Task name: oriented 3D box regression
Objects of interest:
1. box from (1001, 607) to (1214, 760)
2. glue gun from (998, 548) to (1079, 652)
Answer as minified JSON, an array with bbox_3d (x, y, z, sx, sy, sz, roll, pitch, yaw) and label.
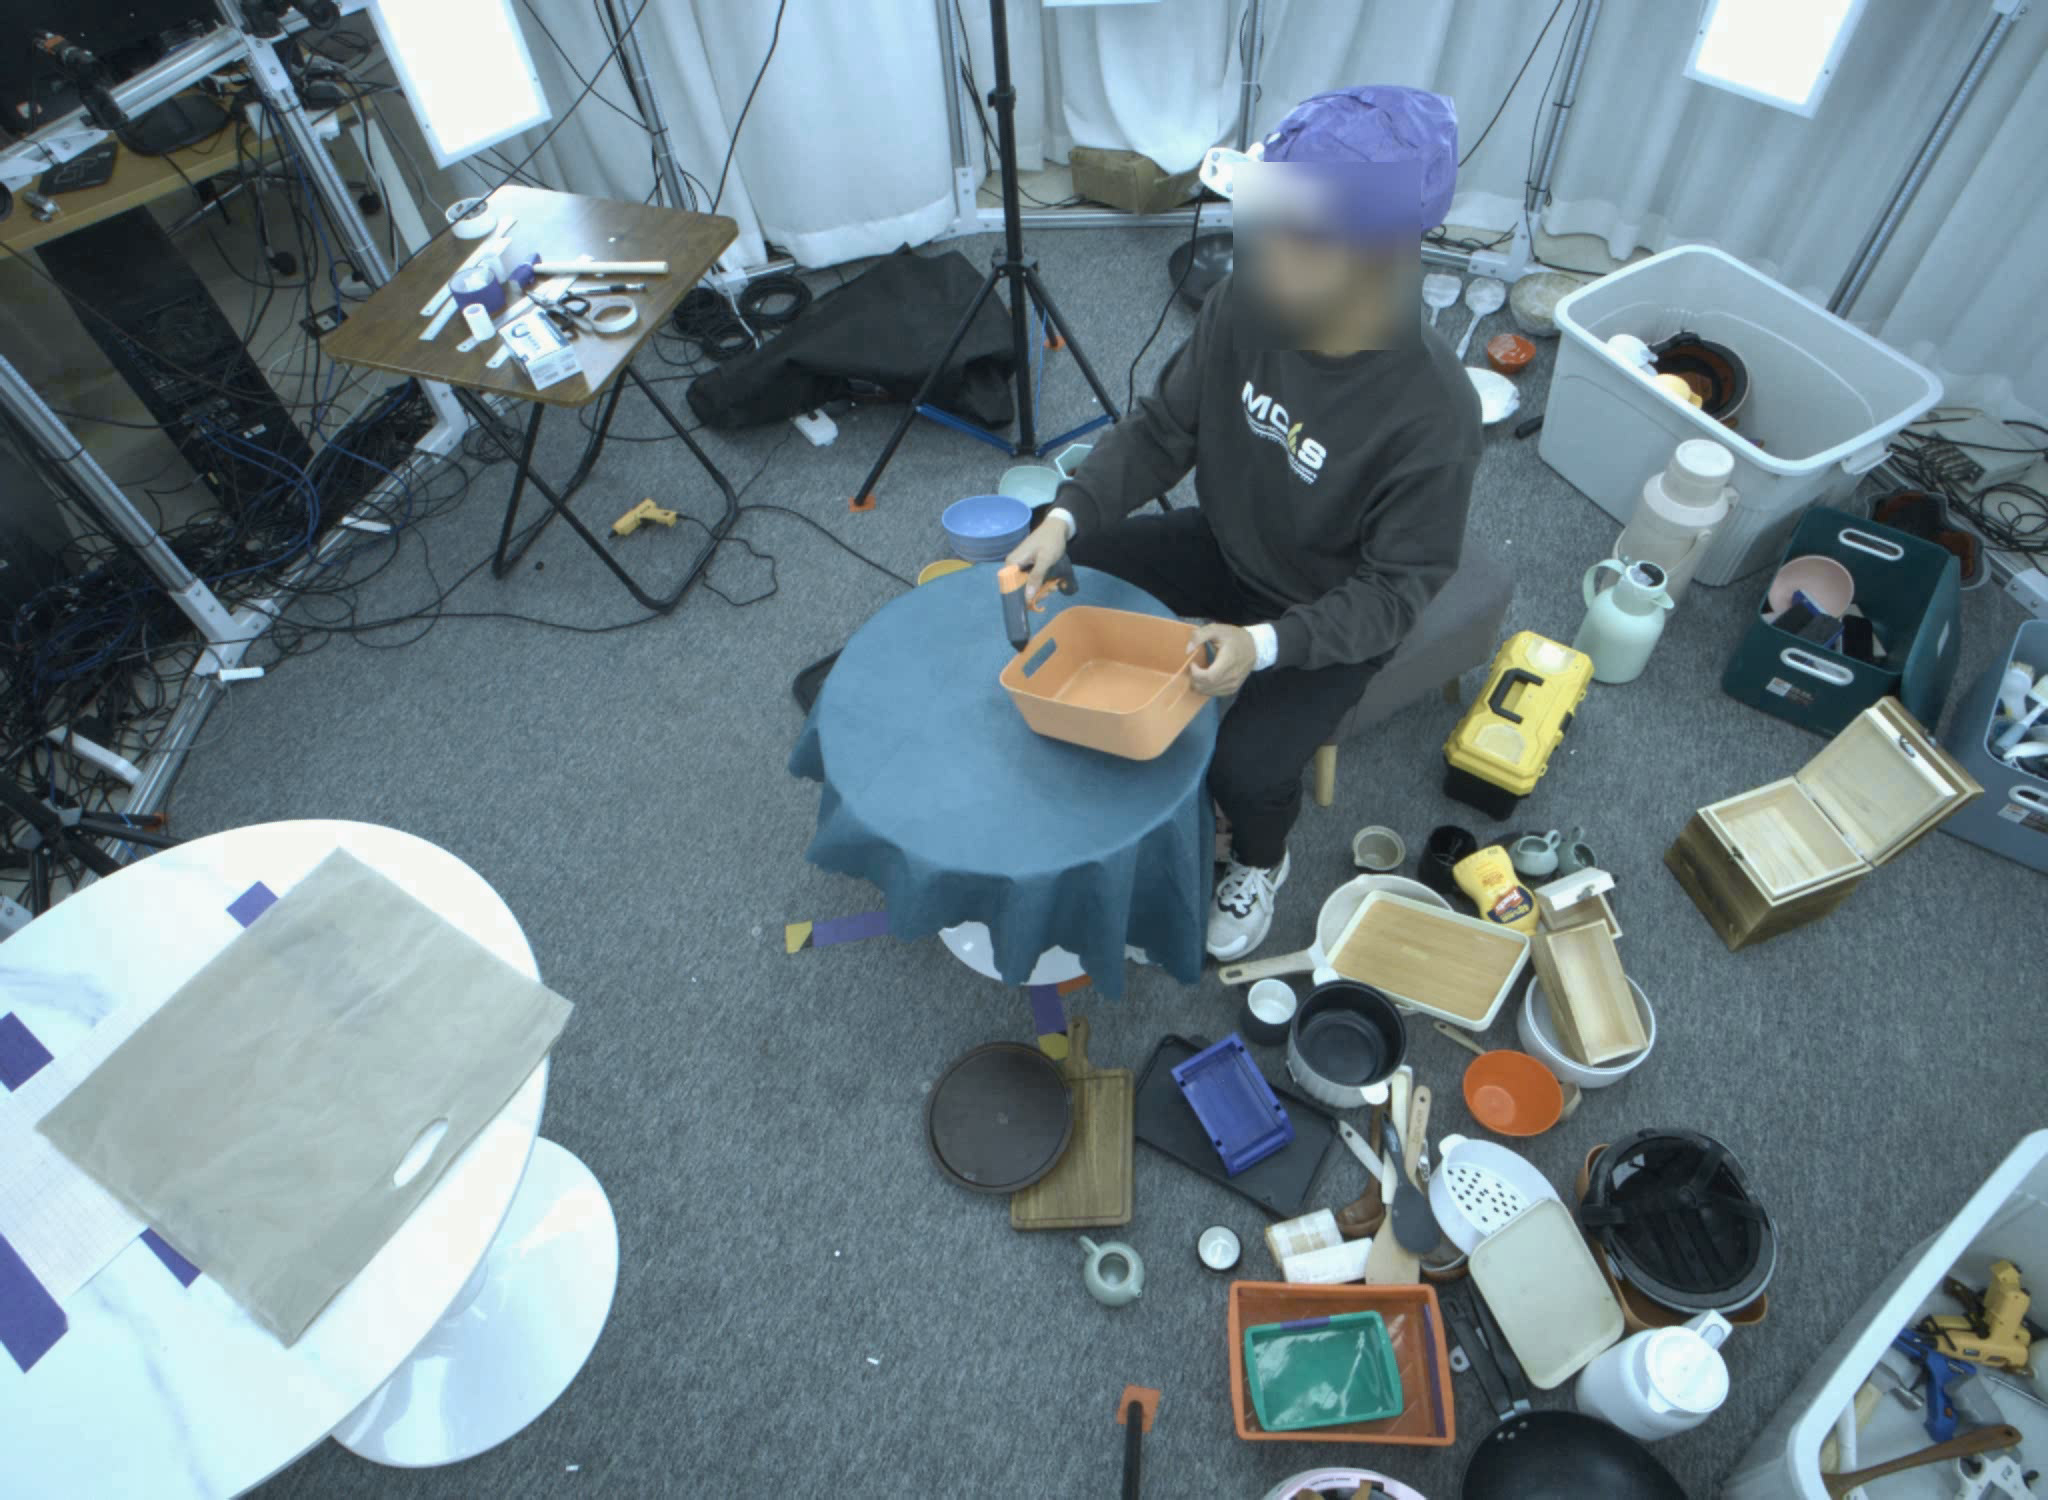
[{"bbox_3d":[0.124,-0.094,1.741,0.267,0.104,0.200,16,52,40],"label":"box"},{"bbox_3d":[0.016,-0.223,1.787,0.040,0.120,0.141,14,45,44],"label":"glue gun"}]
